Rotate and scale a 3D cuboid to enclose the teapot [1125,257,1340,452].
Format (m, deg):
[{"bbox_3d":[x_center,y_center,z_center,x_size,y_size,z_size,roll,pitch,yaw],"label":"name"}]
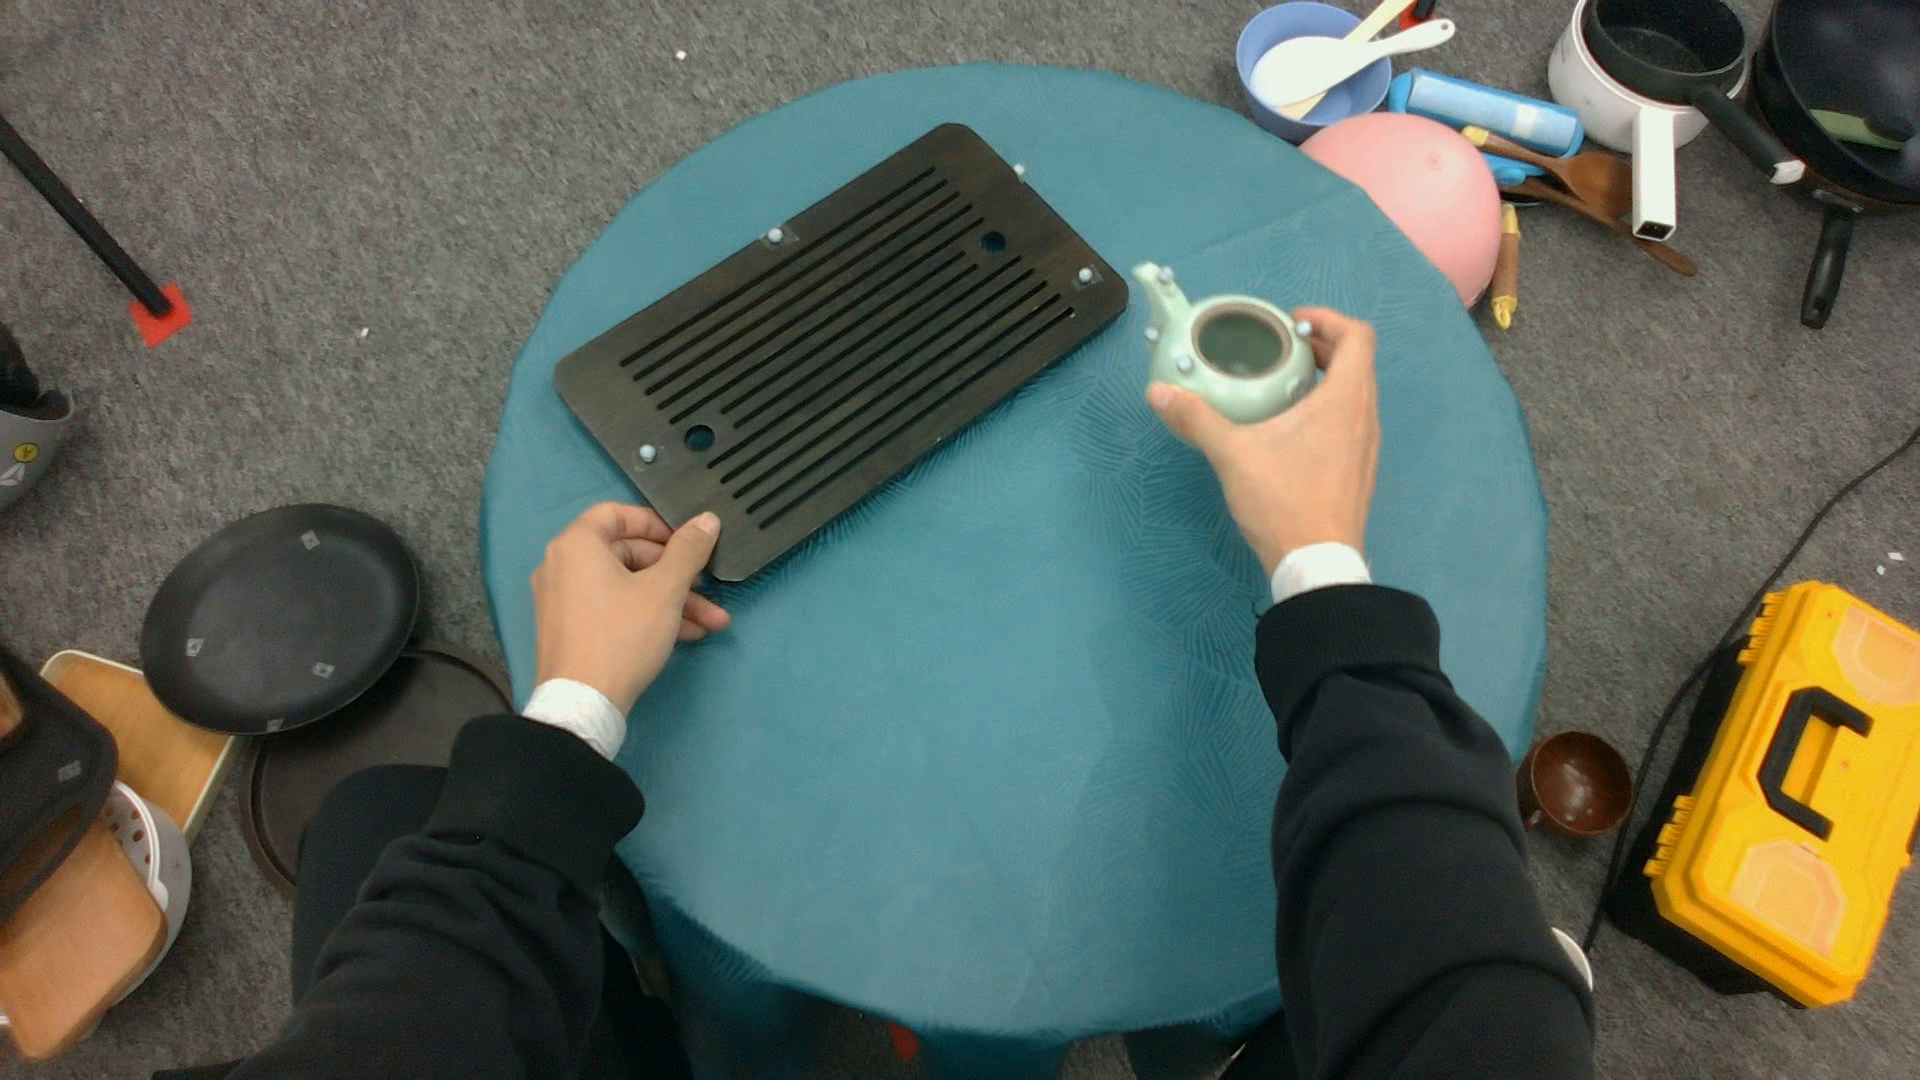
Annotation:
[{"bbox_3d":[0.141,-0.091,0.746,0.088,0.074,0.144,-38,66,-22],"label":"teapot"}]

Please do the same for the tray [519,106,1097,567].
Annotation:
[{"bbox_3d":[-0.082,-0.127,0.796,0.307,0.018,0.170,-37,75,-19],"label":"tray"}]
